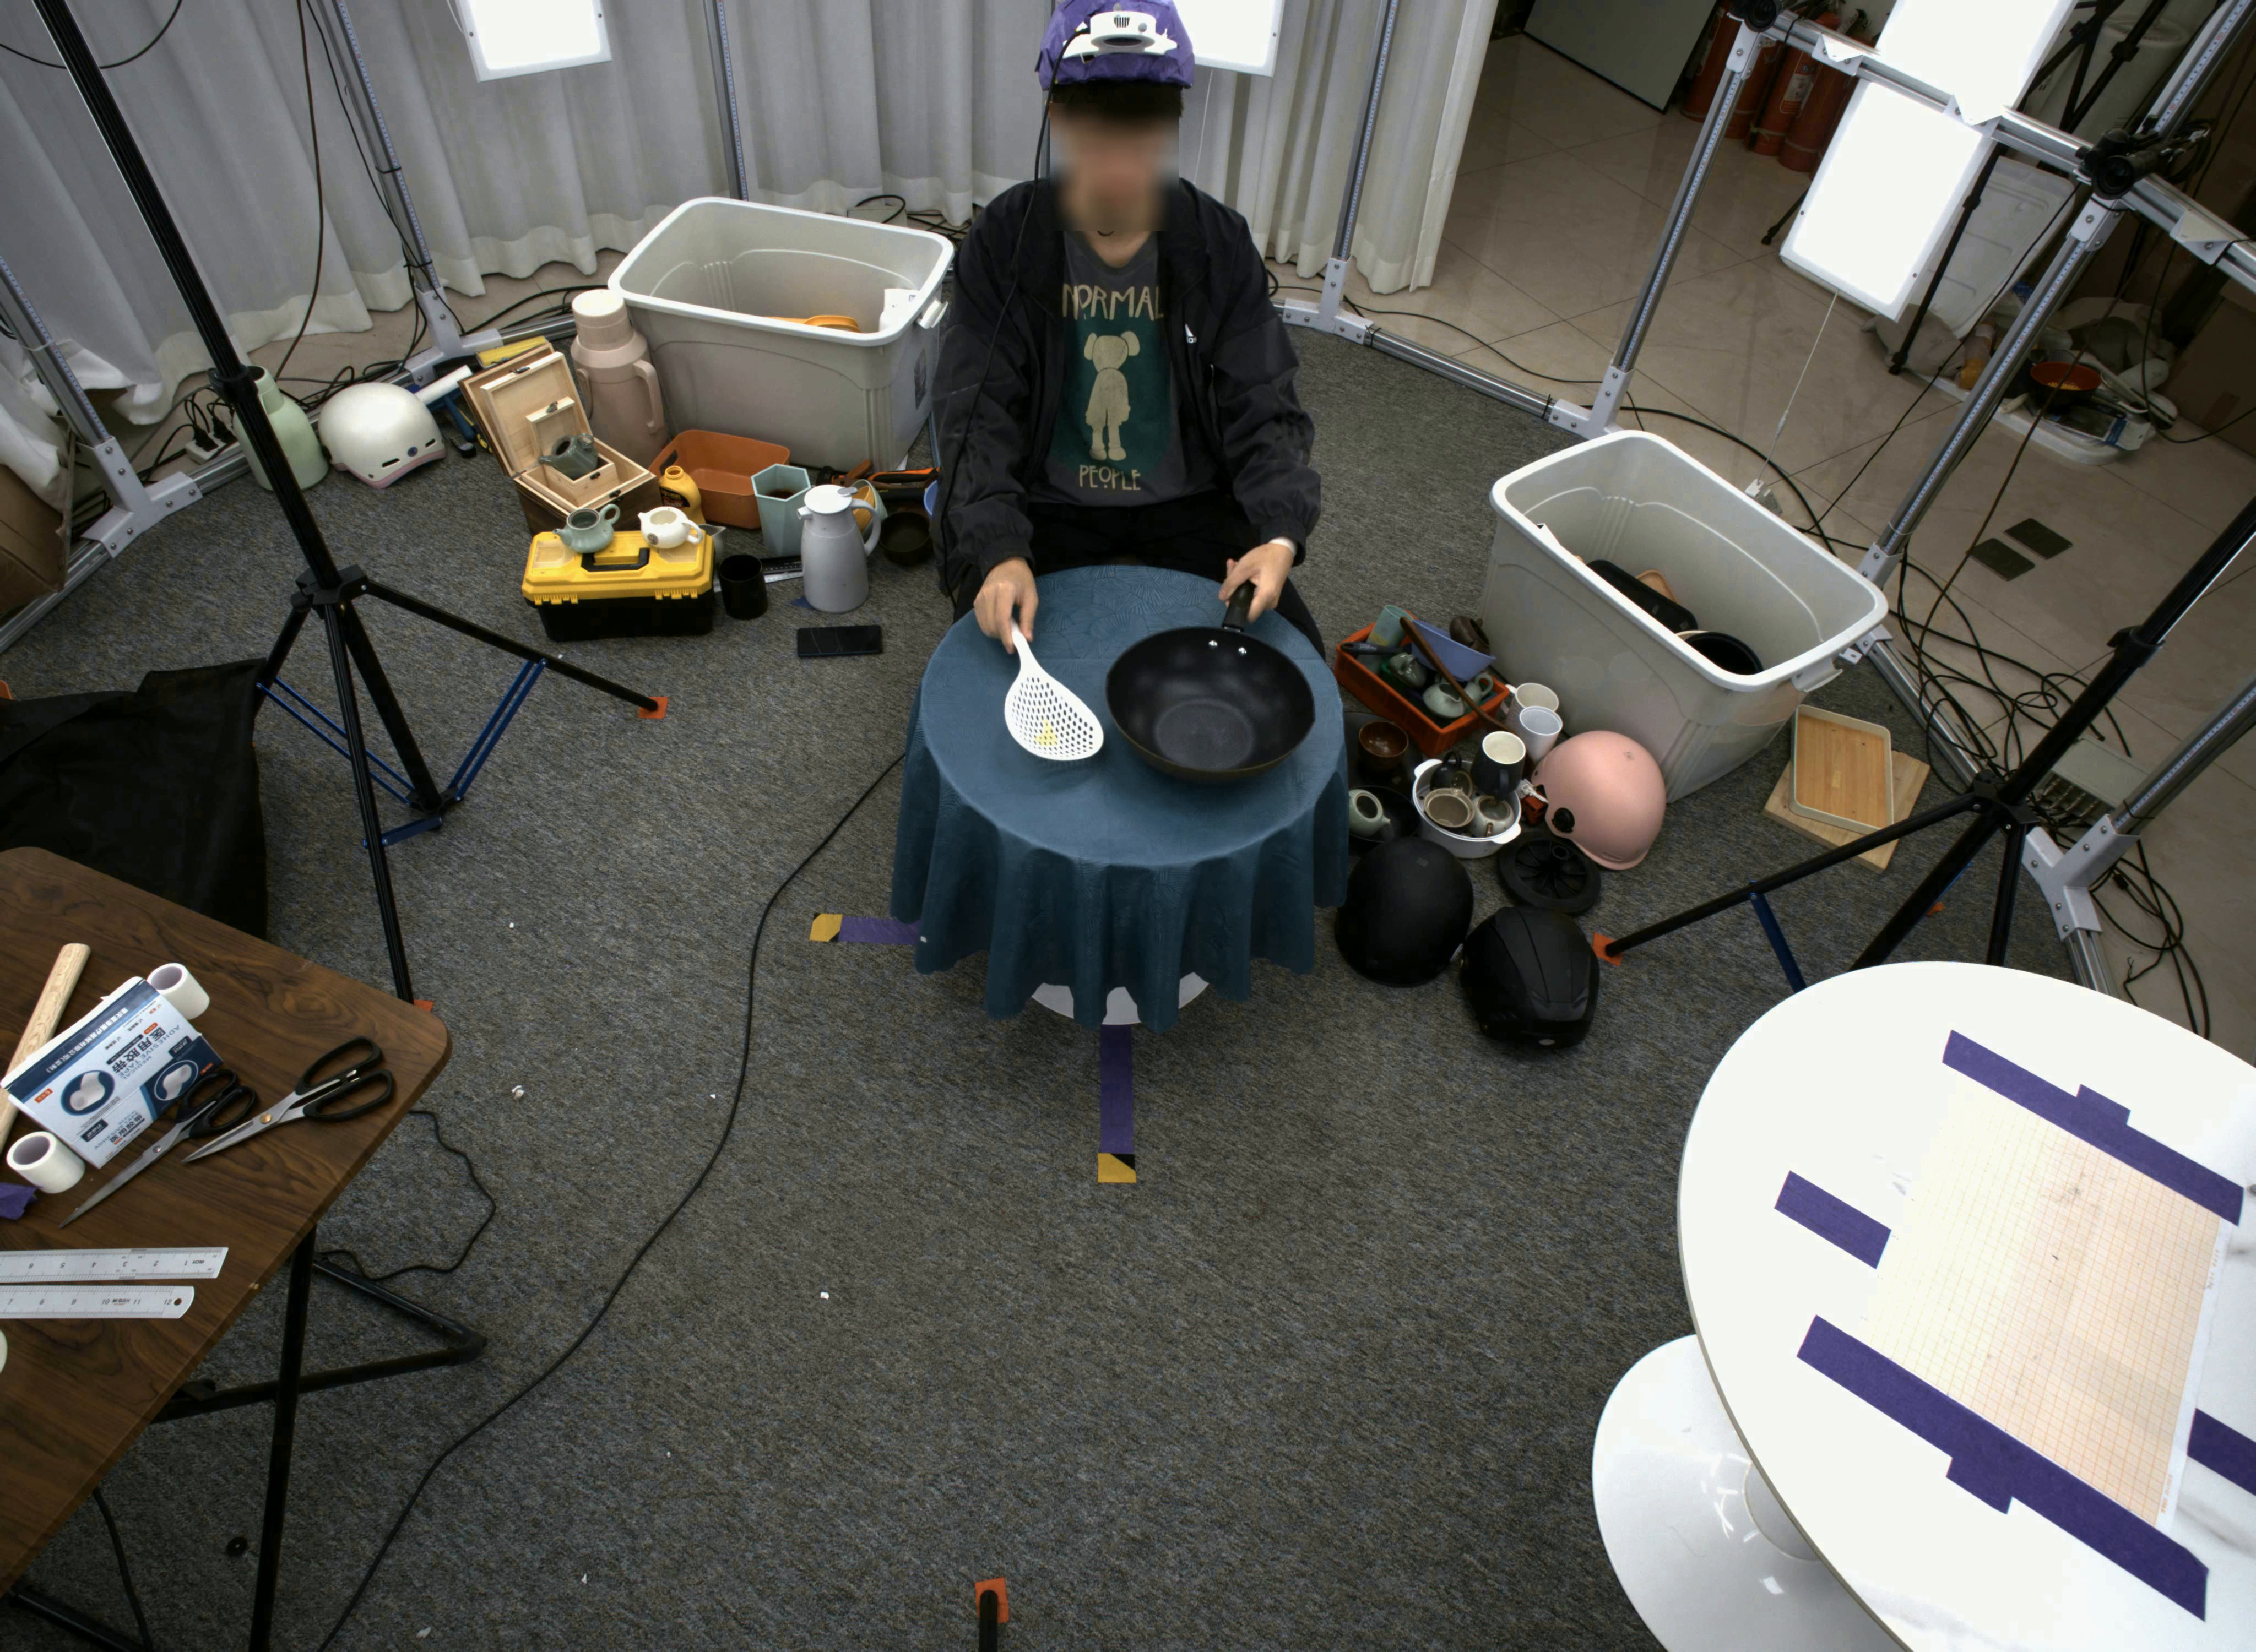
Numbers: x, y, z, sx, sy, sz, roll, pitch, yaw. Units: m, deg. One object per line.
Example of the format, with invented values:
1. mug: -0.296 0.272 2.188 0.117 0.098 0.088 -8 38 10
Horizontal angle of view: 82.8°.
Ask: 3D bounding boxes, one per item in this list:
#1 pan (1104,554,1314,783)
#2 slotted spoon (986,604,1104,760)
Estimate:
1. pan: 0.130 -0.220 1.811 0.289 0.085 0.473 13 48 7
2. slotted spoon: -0.139 -0.211 1.803 0.136 0.049 0.356 -4 51 -23
